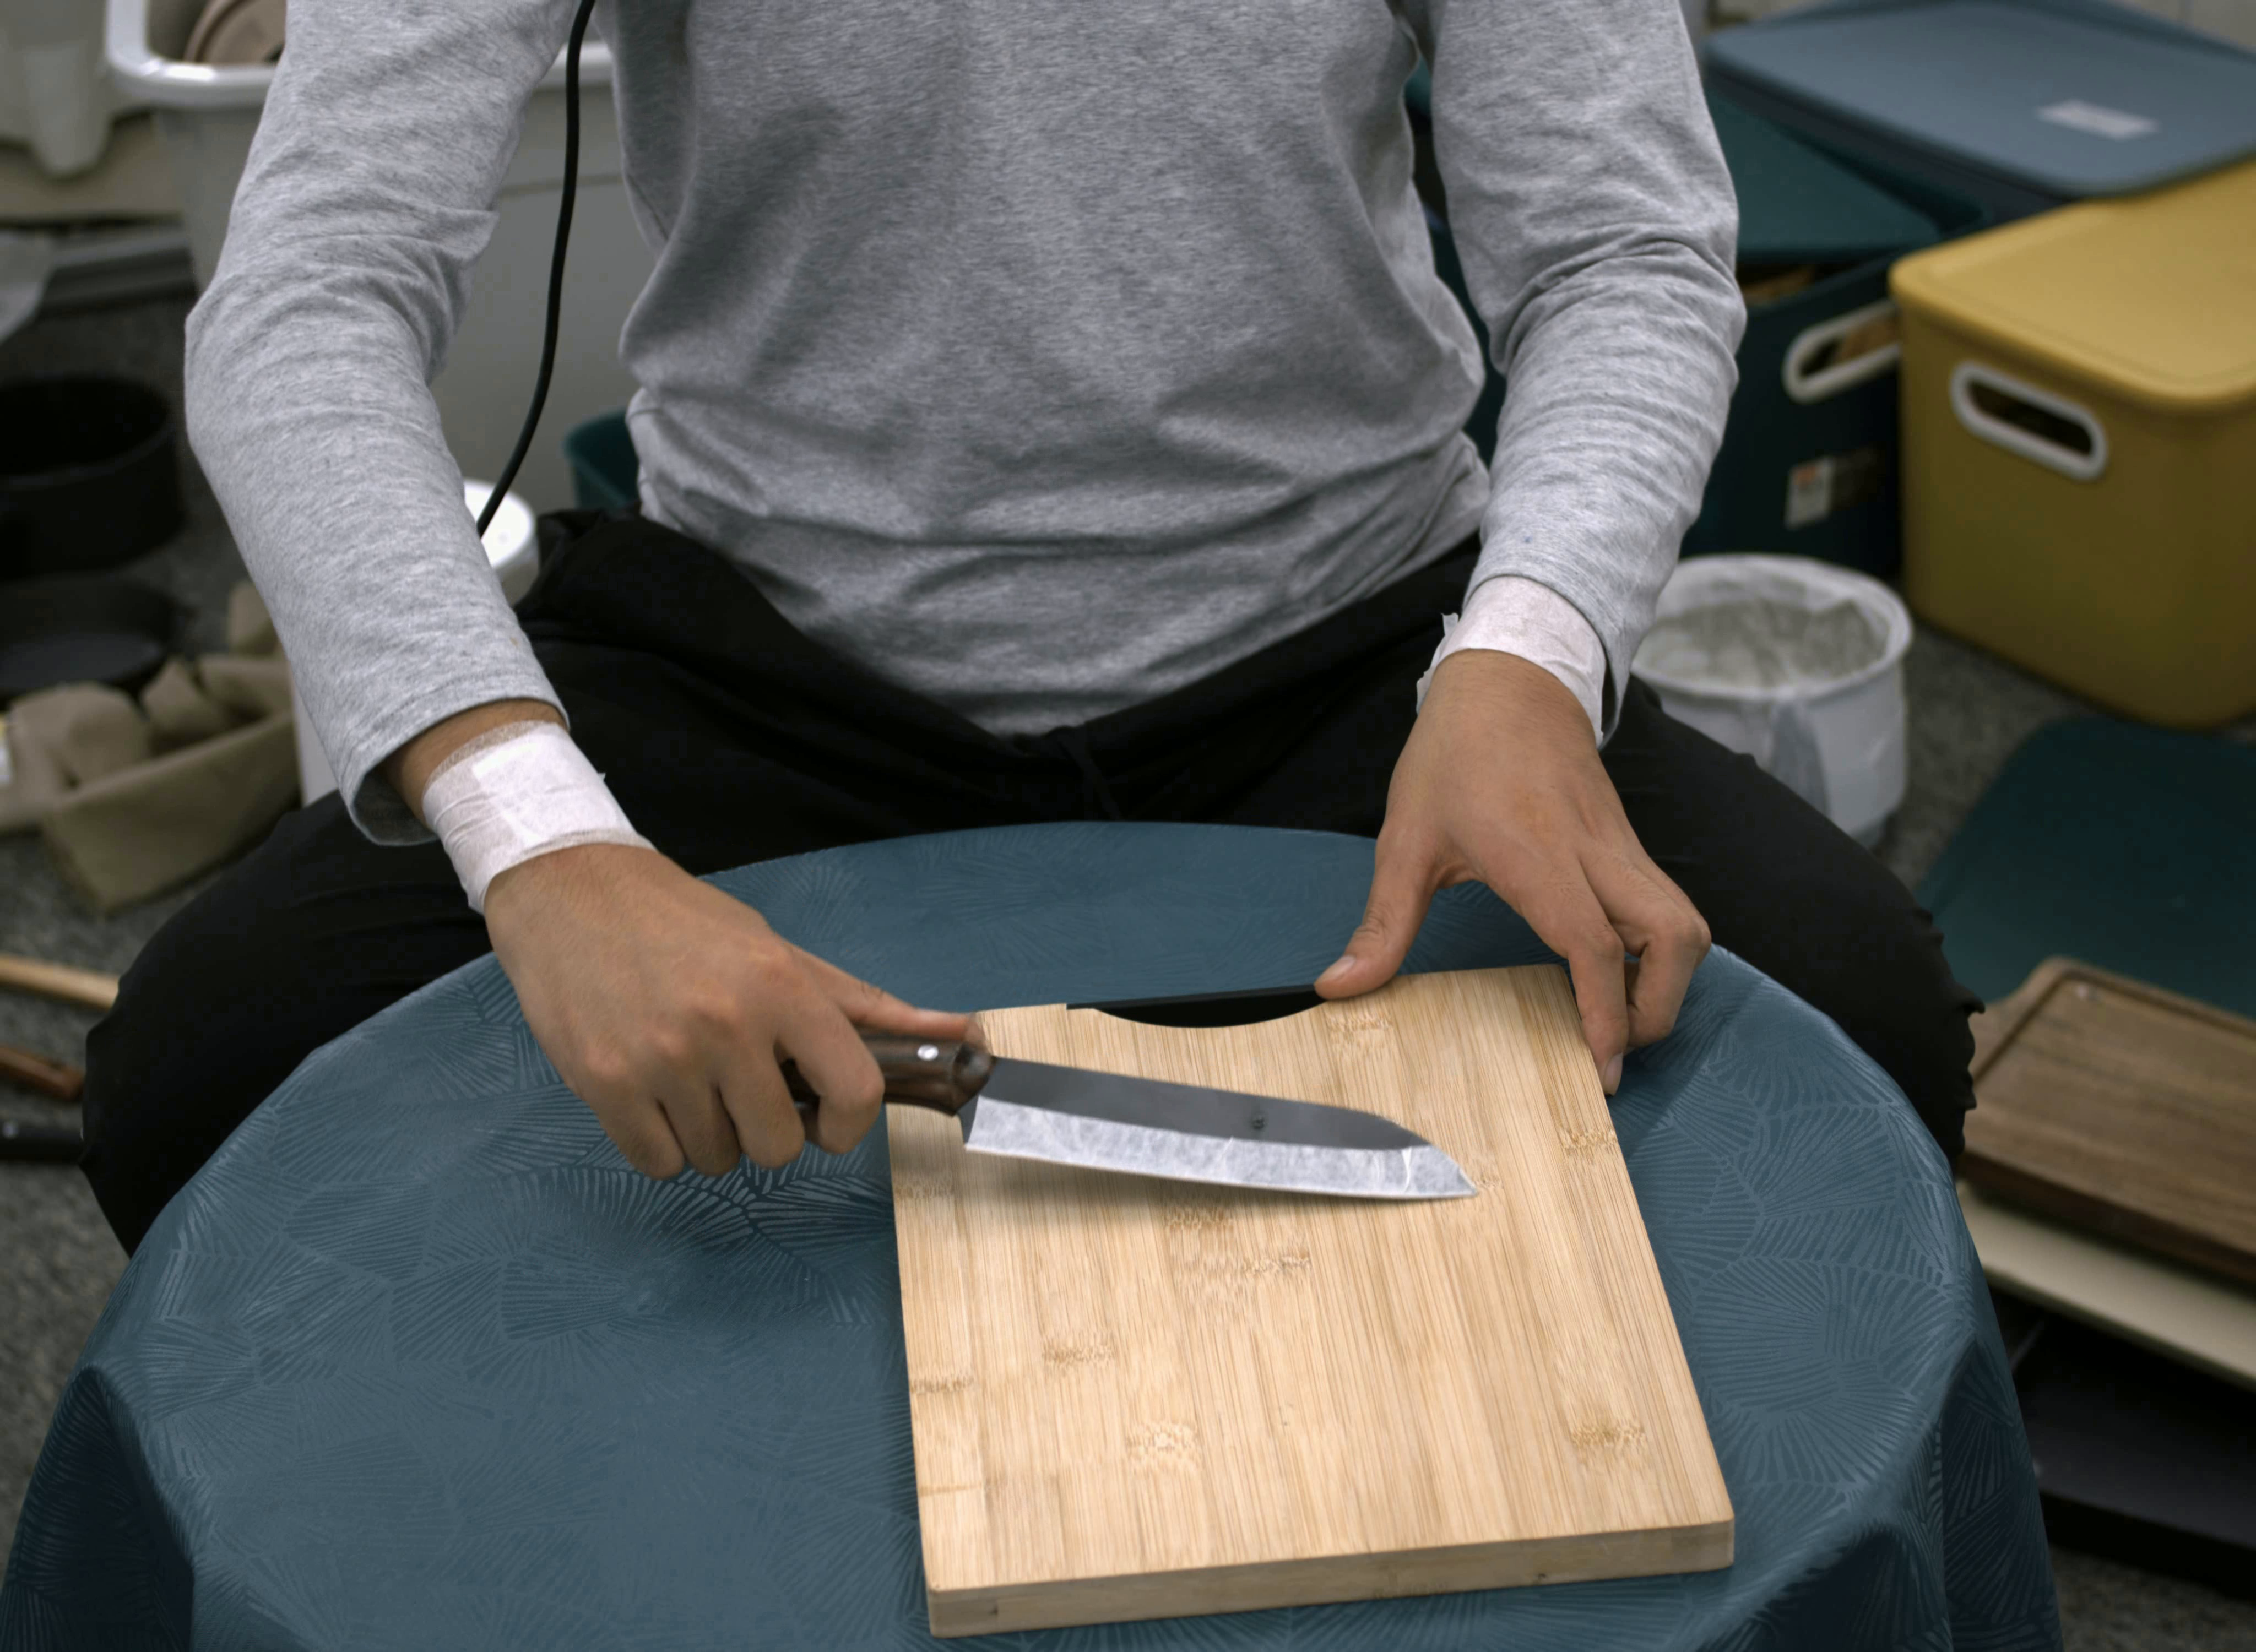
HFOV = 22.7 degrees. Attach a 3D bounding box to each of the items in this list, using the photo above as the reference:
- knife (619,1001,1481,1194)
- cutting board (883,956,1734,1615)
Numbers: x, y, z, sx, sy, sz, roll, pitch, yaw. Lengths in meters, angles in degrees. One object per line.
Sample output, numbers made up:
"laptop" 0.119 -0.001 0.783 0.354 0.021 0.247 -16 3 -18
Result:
"knife" -0.027 0.090 1.833 0.288 0.019 0.051 9 43 4
"cutting board" 0.047 0.141 1.802 0.250 0.023 0.353 -4 27 -4
